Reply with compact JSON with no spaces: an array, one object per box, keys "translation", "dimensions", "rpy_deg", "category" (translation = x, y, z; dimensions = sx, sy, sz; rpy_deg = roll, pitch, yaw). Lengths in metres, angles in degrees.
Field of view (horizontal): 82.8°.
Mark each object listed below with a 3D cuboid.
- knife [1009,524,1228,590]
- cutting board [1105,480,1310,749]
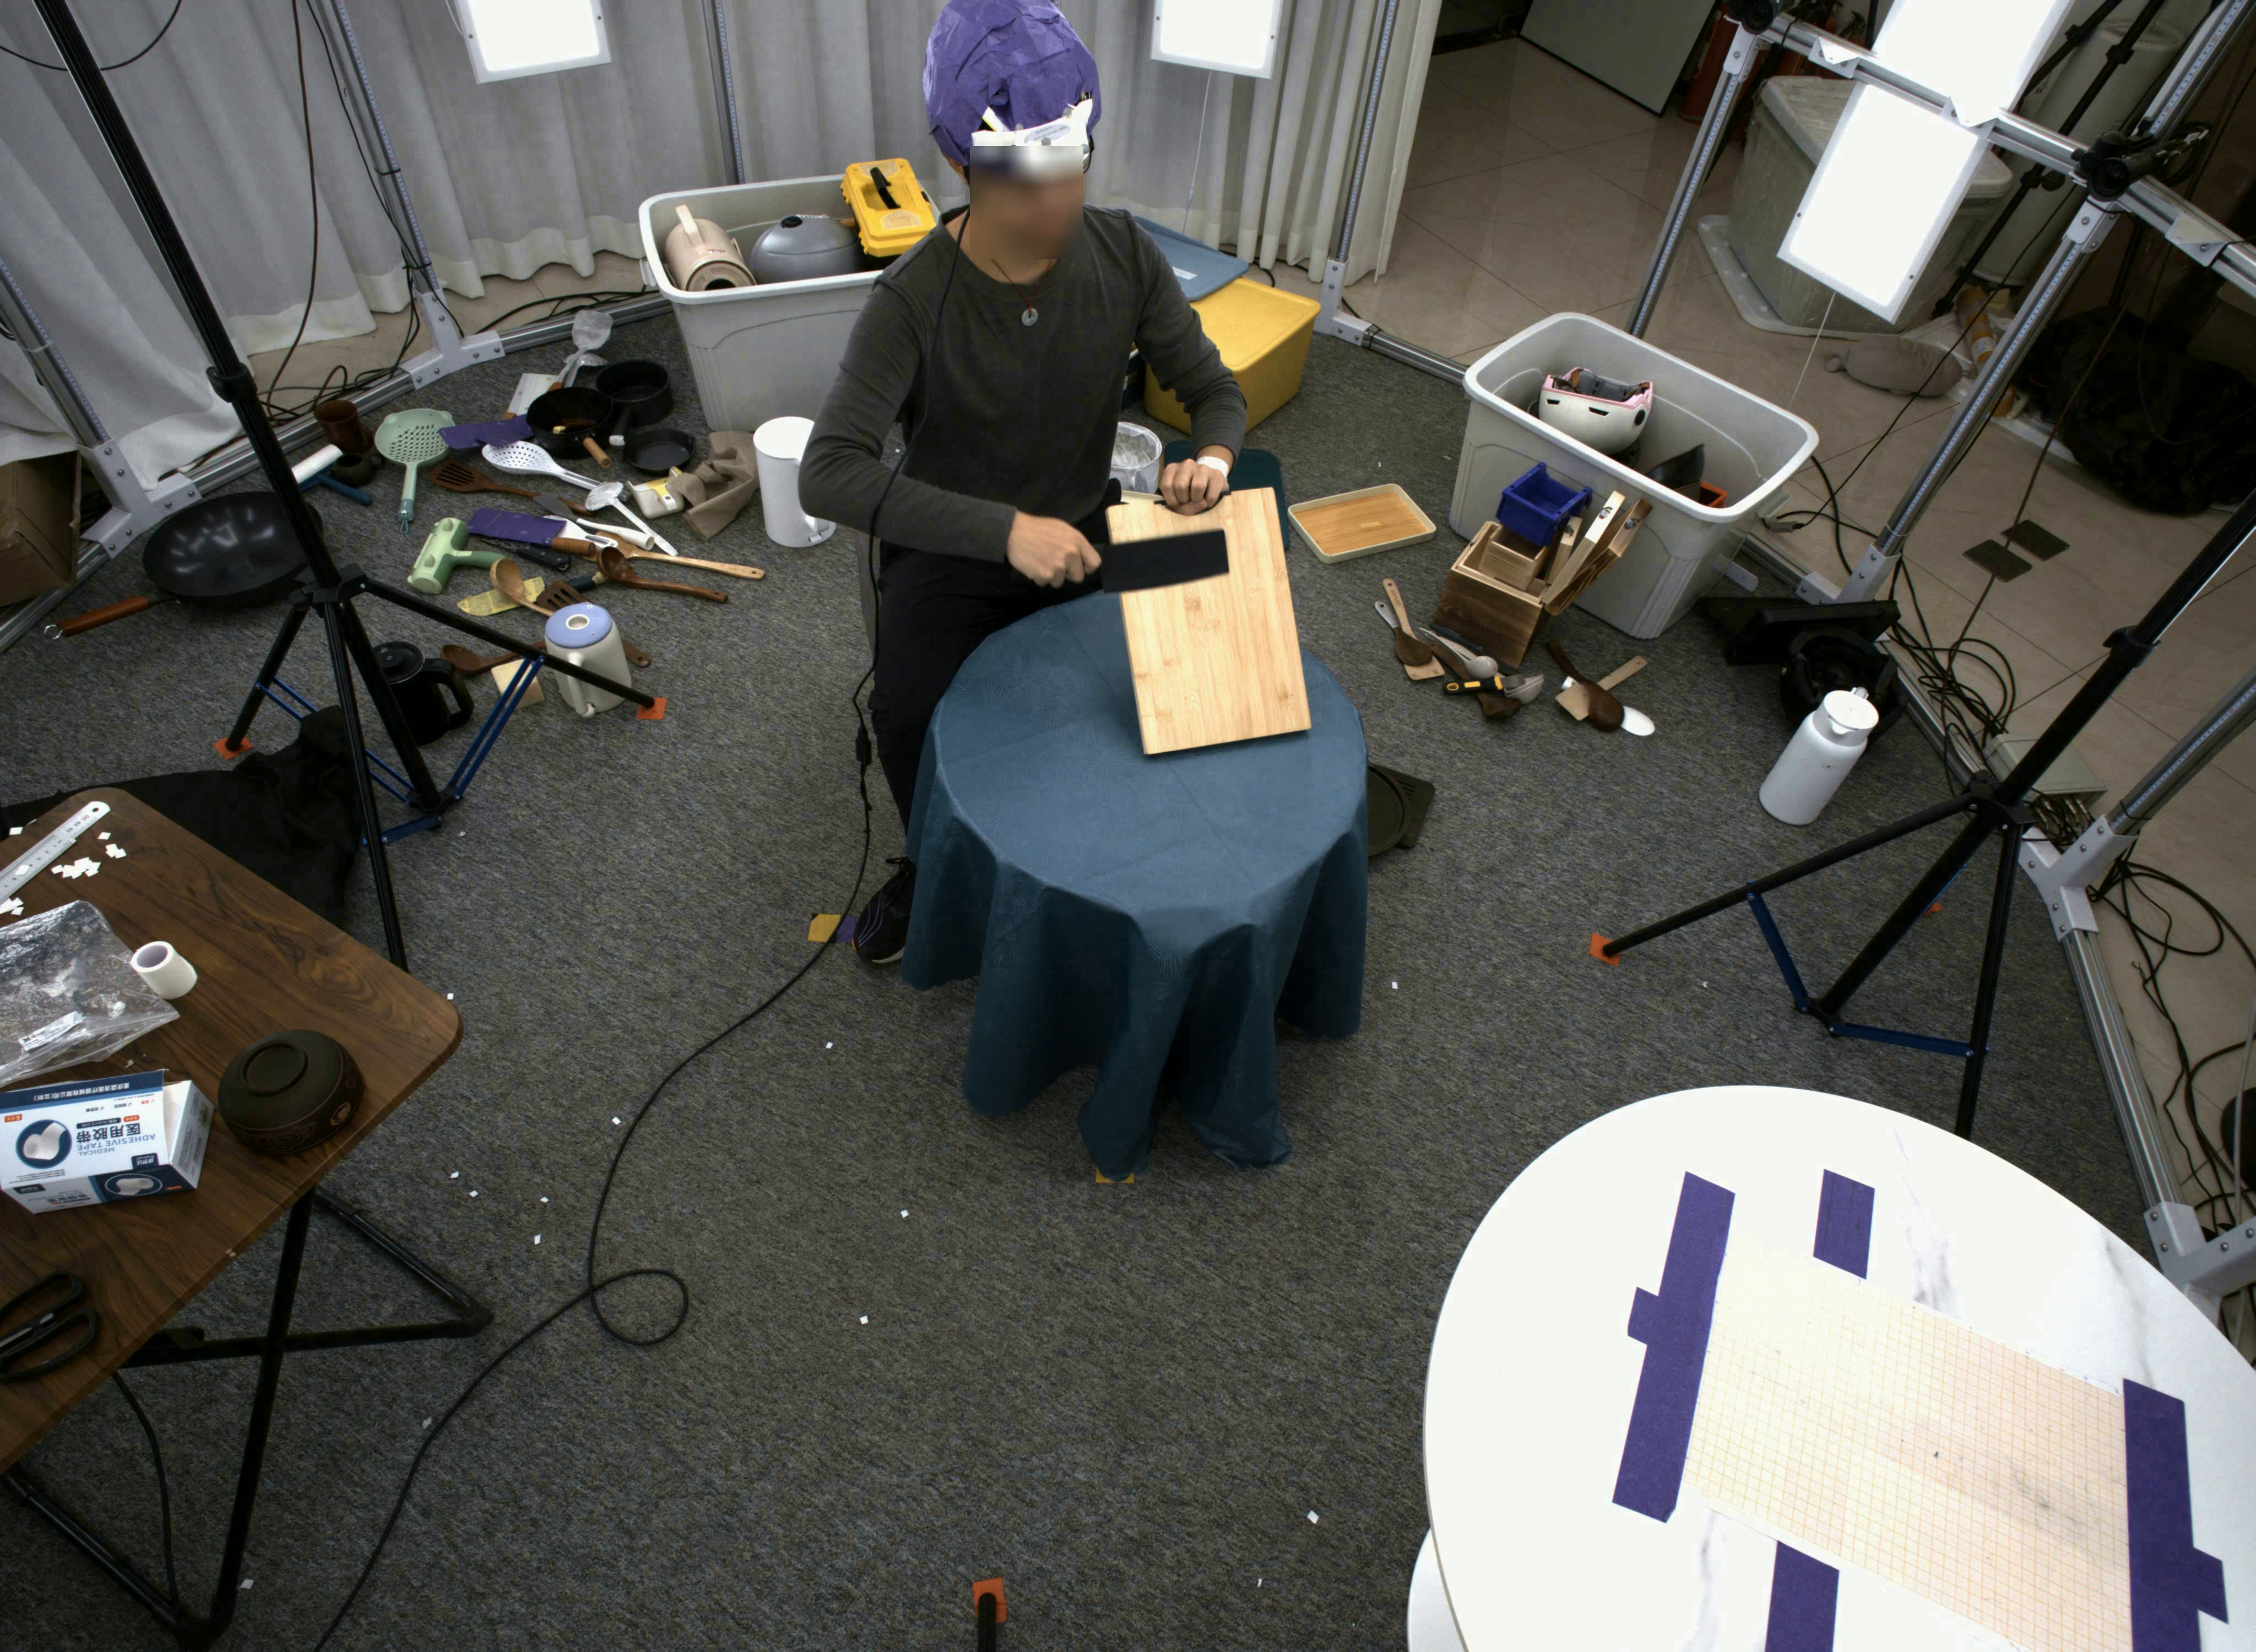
[{"translation":[-0.010,-0.358,1.732],"dimensions":[0.302,0.080,0.021],"rpy_deg":[-6,7,-12],"category":"knife"},{"translation":[0.111,-0.290,1.770],"dimensions":[0.250,0.023,0.348],"rpy_deg":[-10,90,-13],"category":"cutting board"}]
